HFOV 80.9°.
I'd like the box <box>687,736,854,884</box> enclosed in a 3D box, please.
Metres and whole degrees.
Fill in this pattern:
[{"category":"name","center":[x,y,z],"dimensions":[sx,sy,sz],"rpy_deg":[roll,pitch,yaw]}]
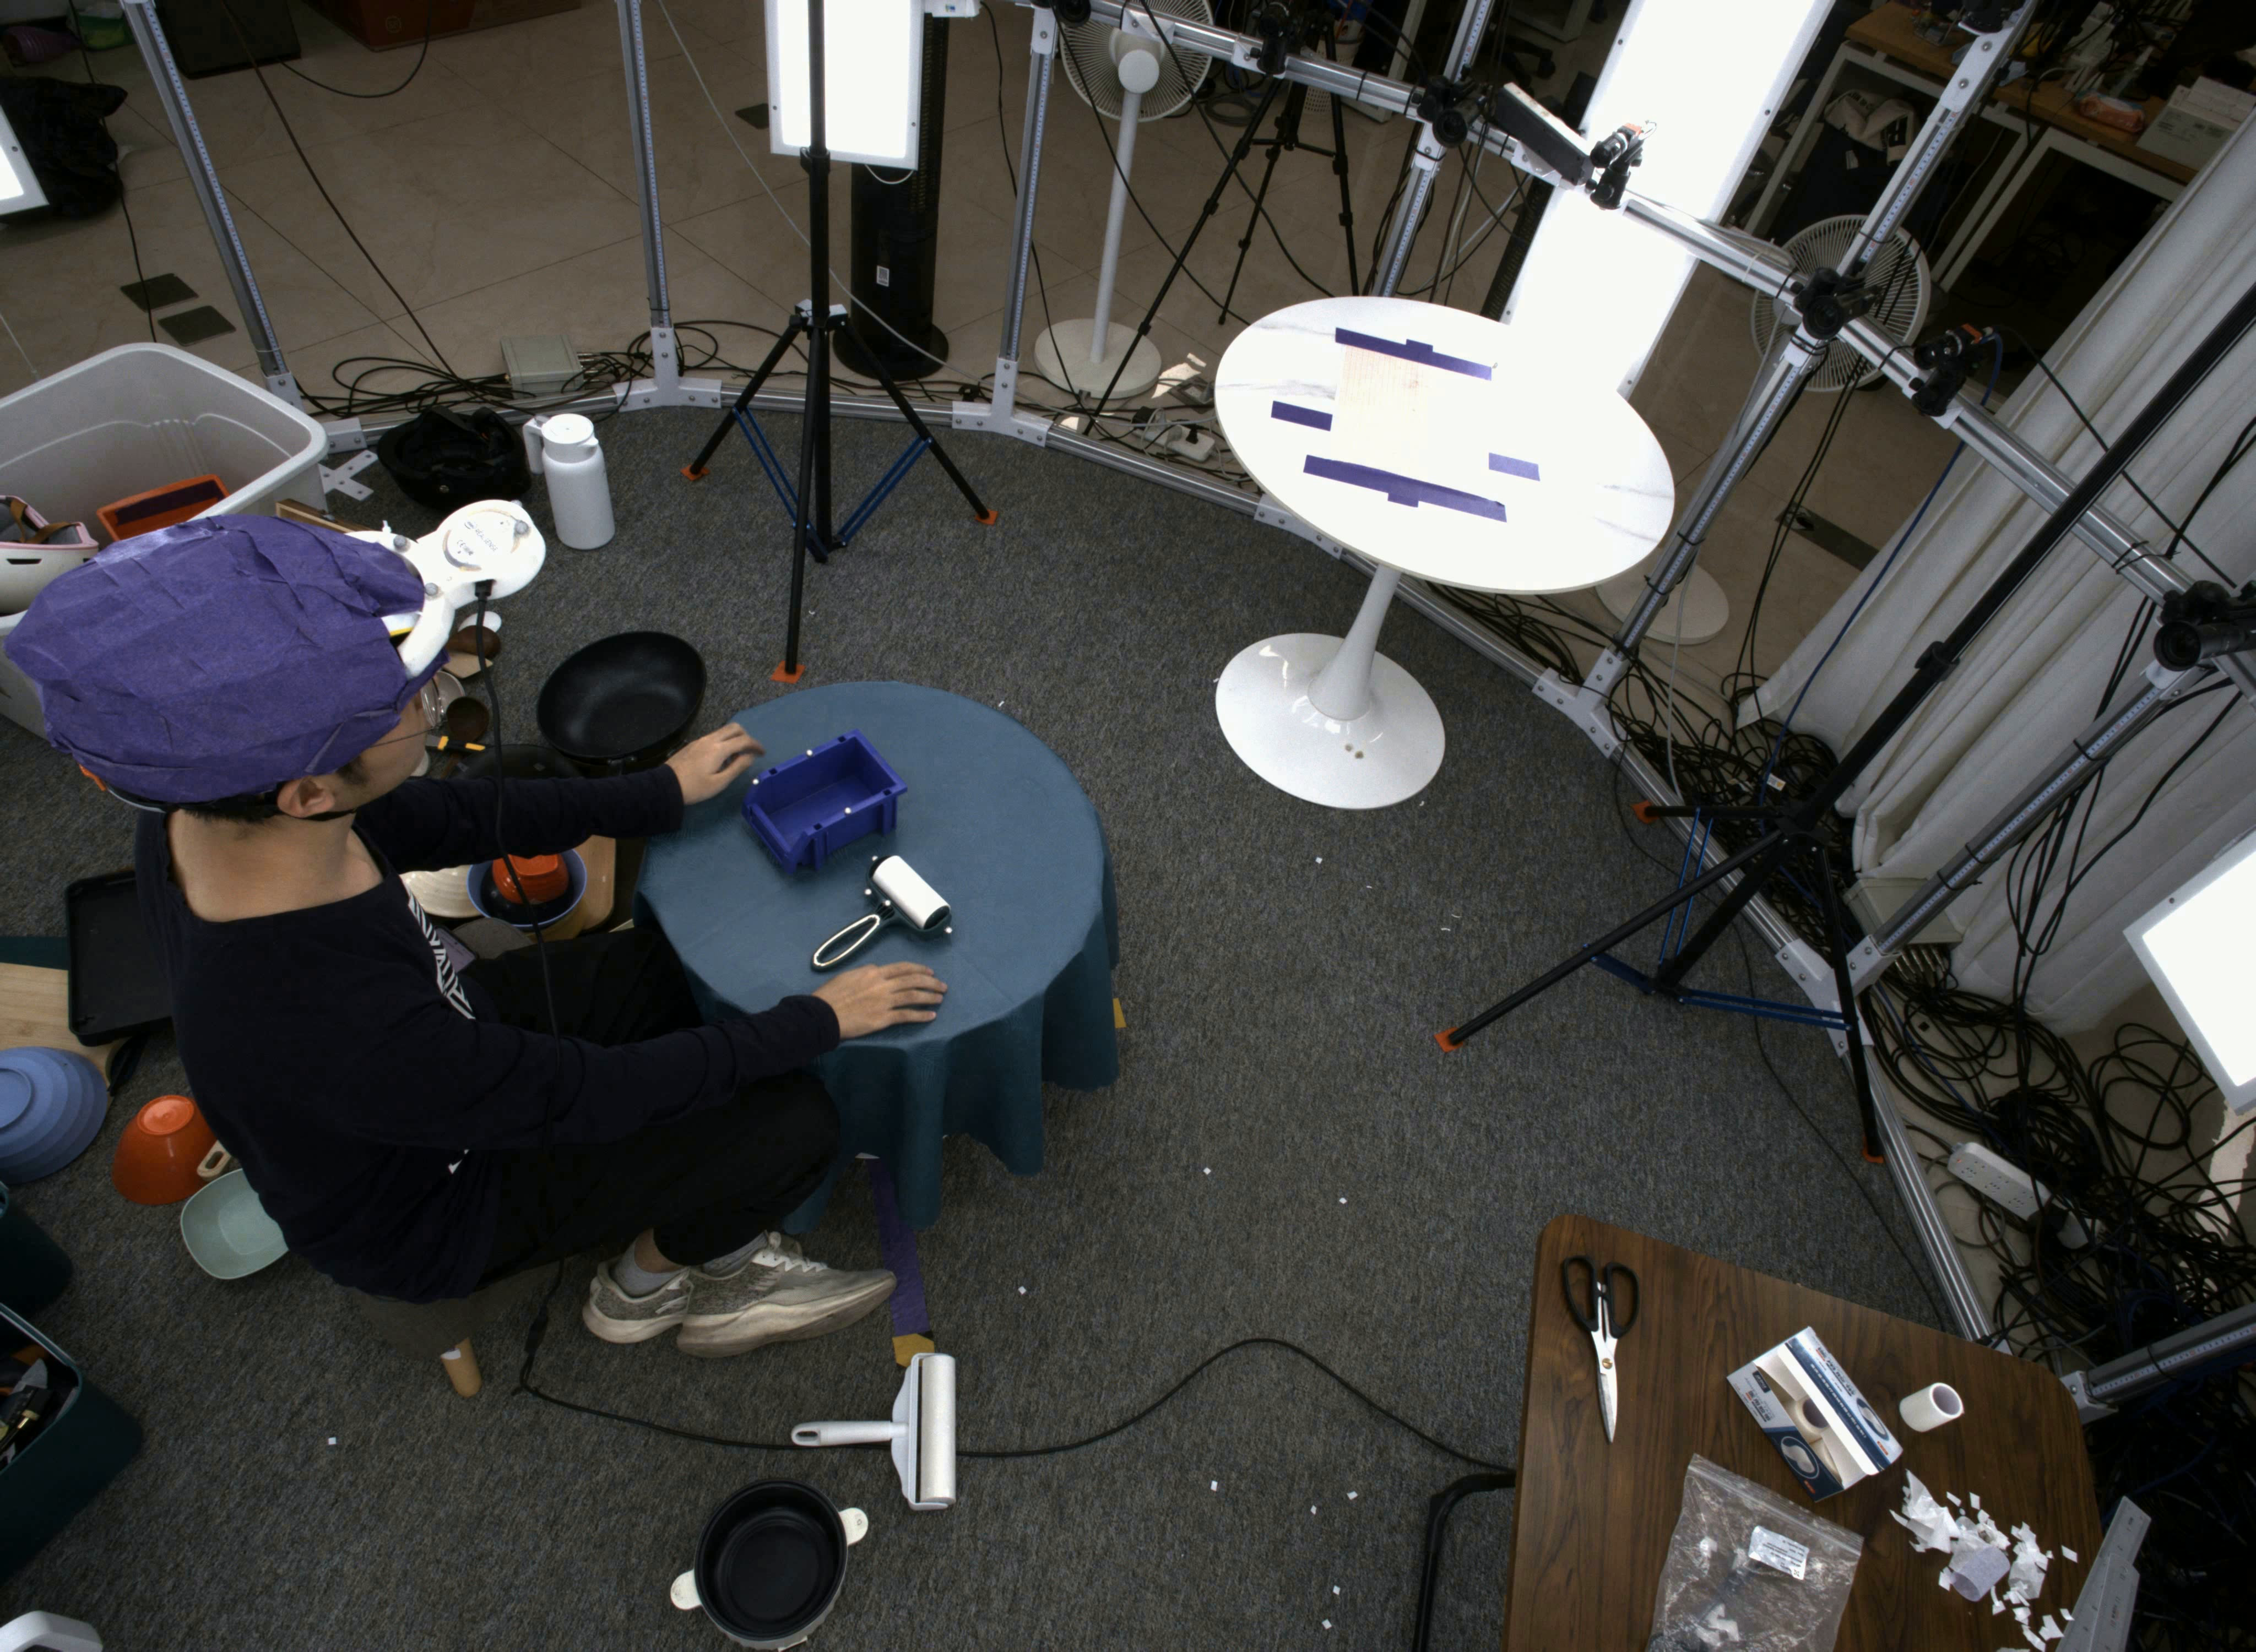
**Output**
[{"category":"box","center":[-0.465,-0.017,1.685],"dimensions":[0.180,0.083,0.122],"rpy_deg":[-30,66,-33]}]

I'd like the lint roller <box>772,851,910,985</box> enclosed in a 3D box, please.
[{"category":"lint roller","center":[-0.377,0.127,1.629],"dimensions":[0.131,0.049,0.180],"rpy_deg":[40,59,16]}]
